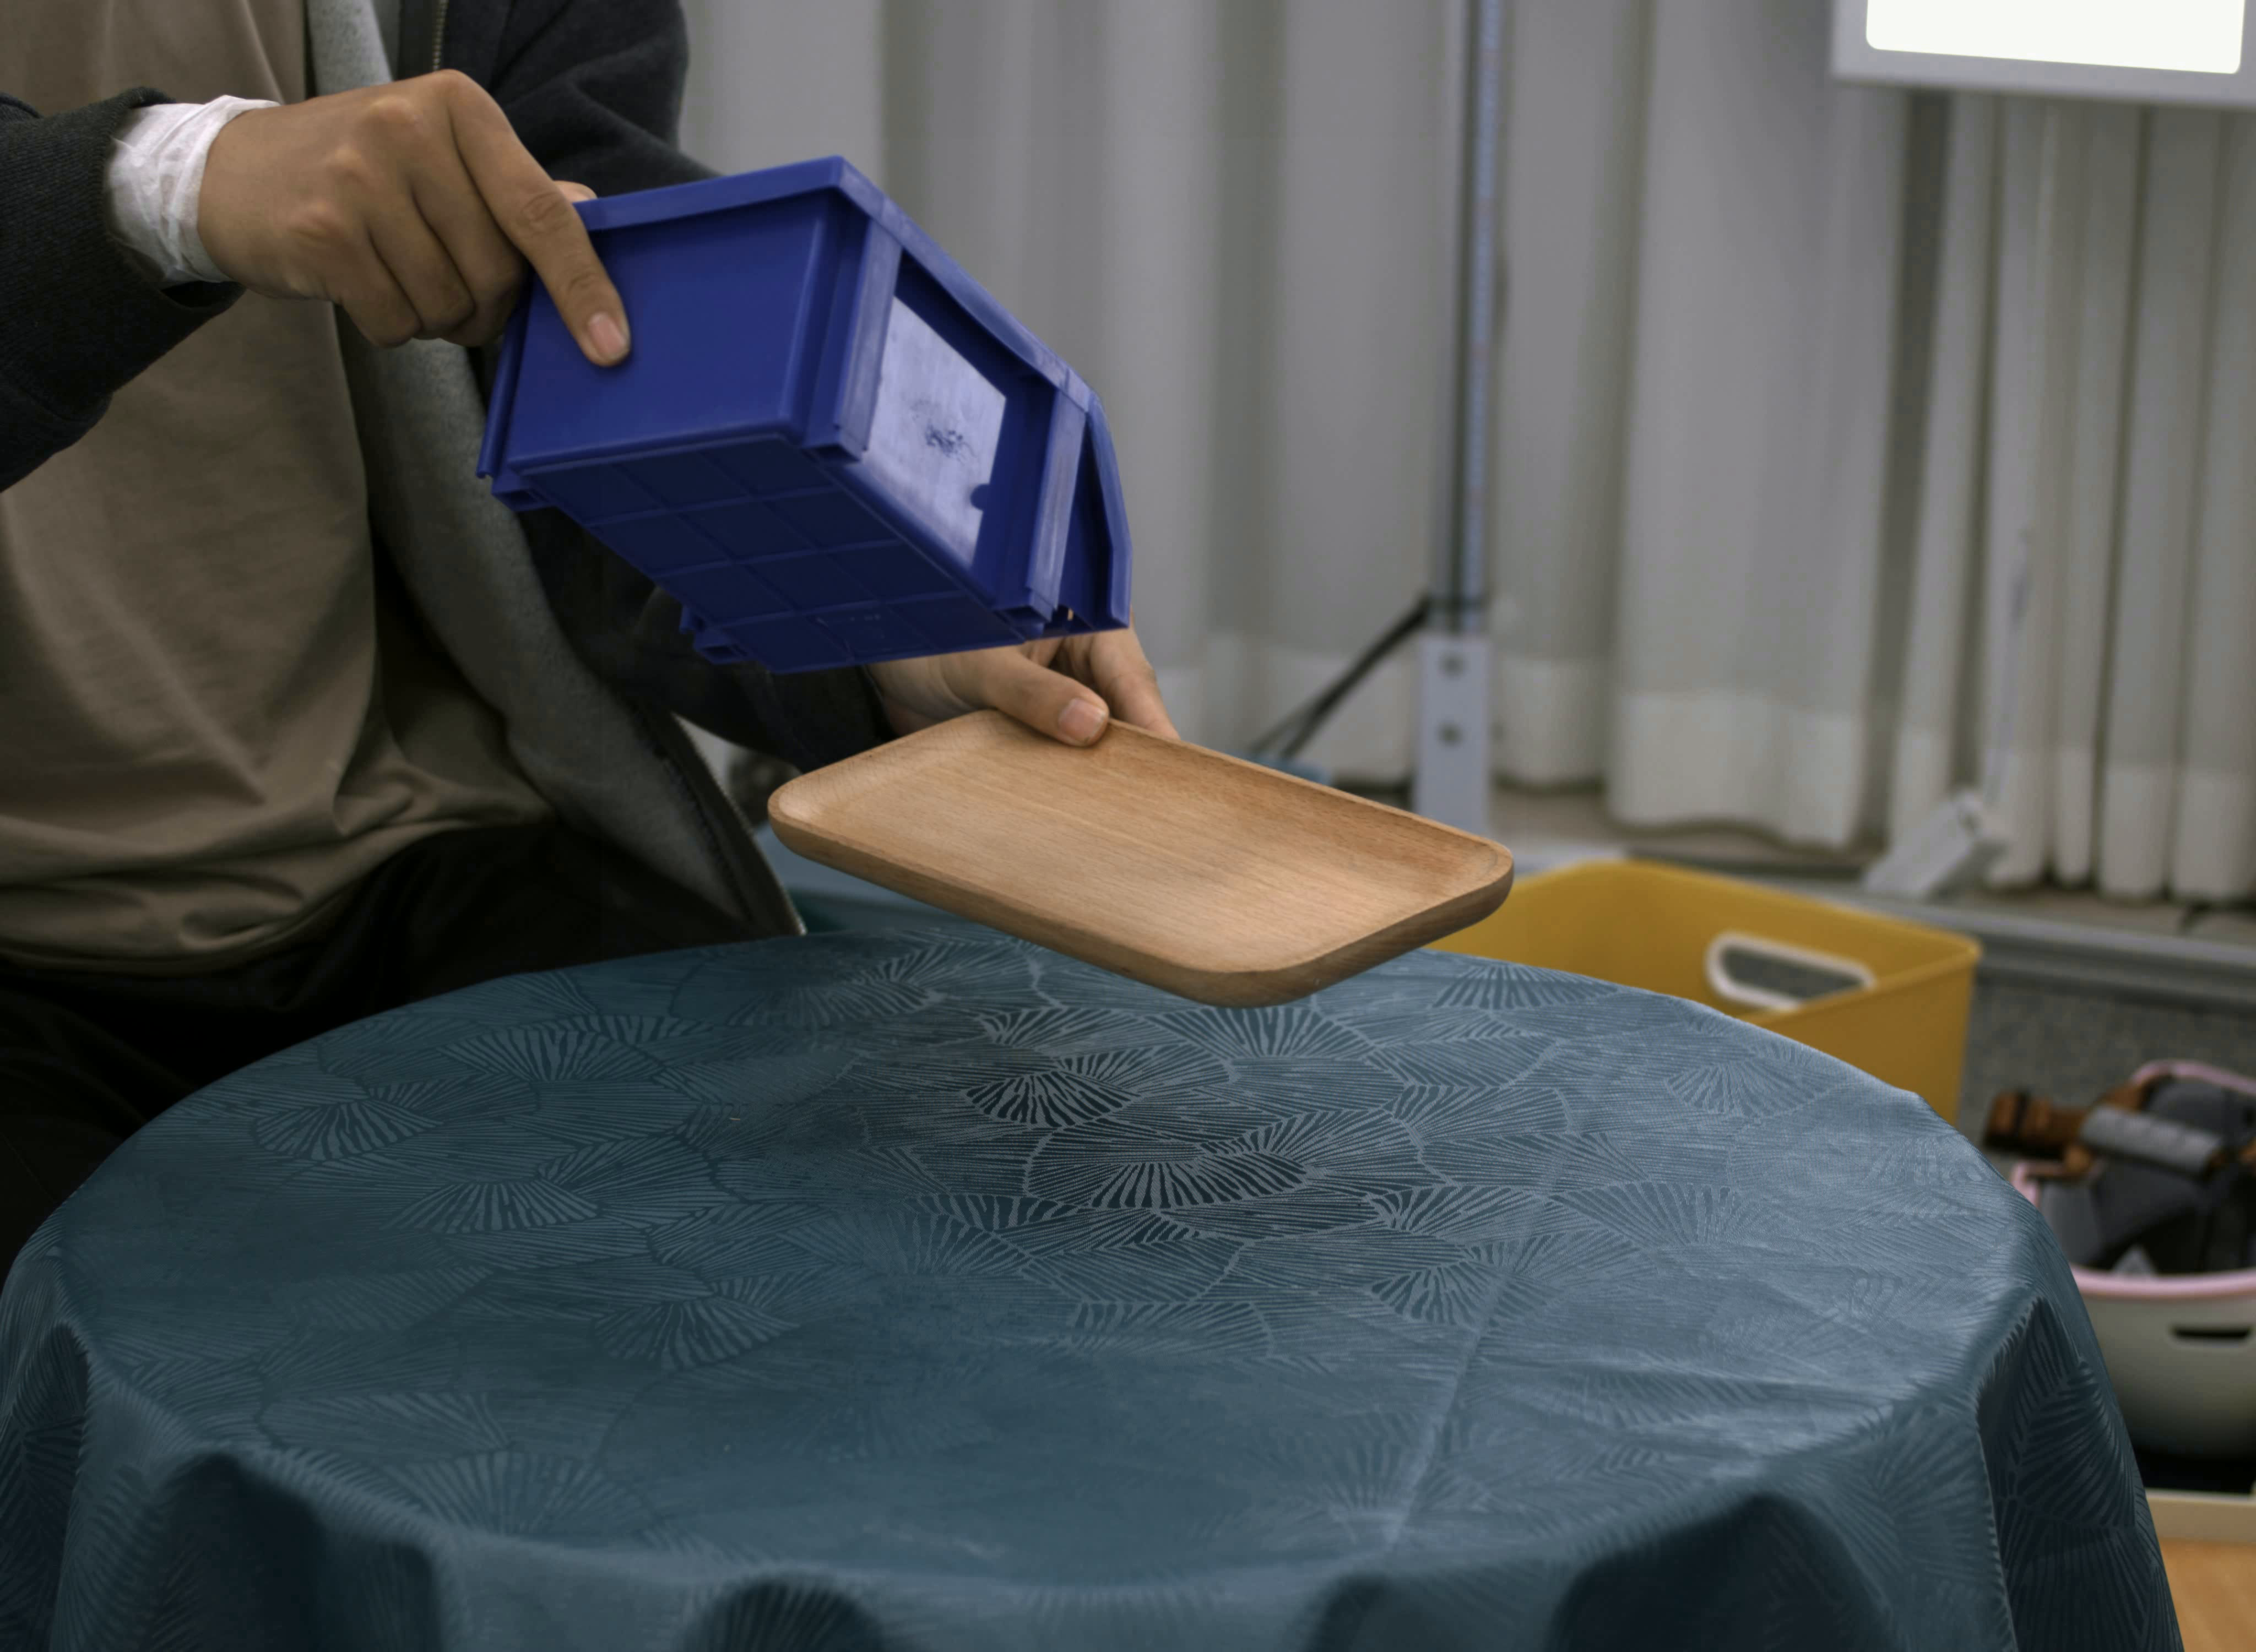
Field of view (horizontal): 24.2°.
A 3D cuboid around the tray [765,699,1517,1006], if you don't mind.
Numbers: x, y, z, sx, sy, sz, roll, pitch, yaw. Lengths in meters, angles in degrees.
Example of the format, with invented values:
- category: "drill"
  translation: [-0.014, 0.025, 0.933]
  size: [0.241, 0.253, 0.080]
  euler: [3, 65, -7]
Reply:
- category: "tray"
  translation: [0.001, 0.006, 1.647]
  size: [0.131, 0.023, 0.247]
  euler: [-18, 24, -37]

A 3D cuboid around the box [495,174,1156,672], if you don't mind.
- category: "box"
  translation: [-0.088, -0.108, 1.540]
  size: [0.123, 0.081, 0.181]
  euler: [-7, -22, 32]
